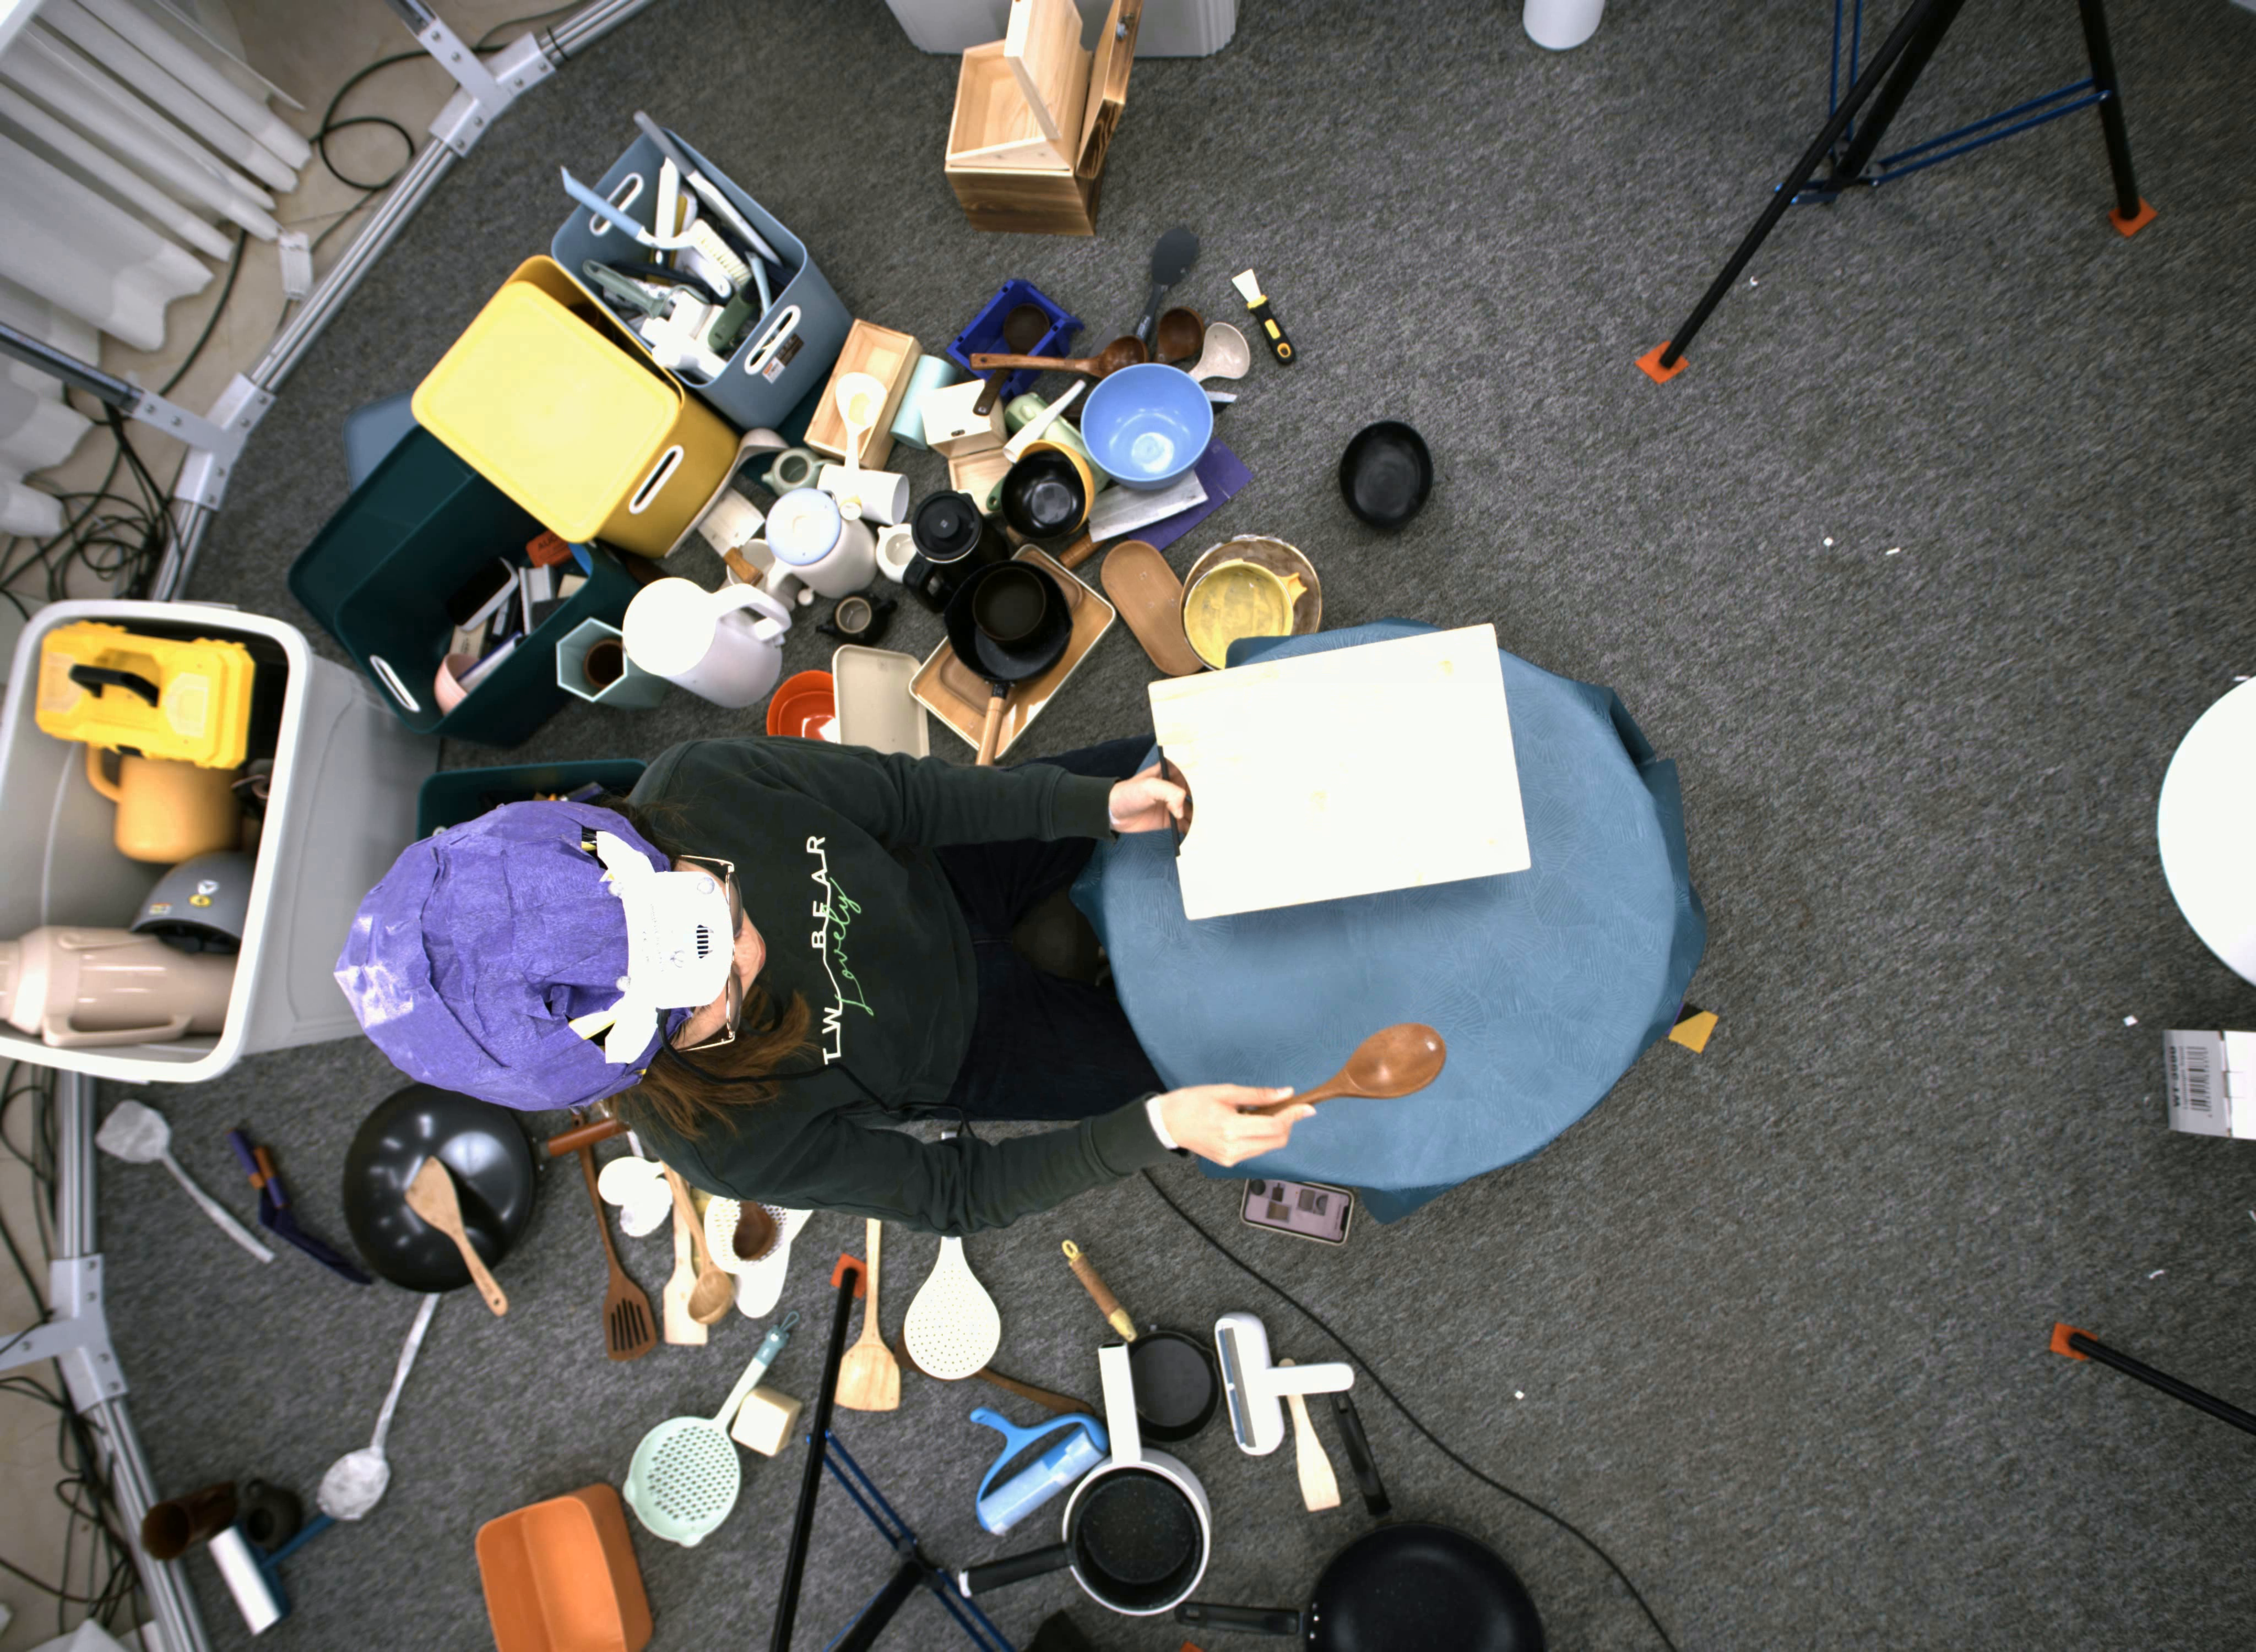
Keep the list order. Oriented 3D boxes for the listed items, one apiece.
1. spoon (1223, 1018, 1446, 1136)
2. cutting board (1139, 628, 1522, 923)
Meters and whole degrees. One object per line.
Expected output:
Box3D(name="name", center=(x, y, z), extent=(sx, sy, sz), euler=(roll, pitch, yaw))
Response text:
Box3D(name="spoon", center=(0.185, 0.233, 1.253), extent=(0.217, 0.017, 0.073), euler=(-24, 46, 10))
Box3D(name="cutting board", center=(0.201, -0.049, 1.360), extent=(0.350, 0.023, 0.251), euler=(-10, 94, 9))
